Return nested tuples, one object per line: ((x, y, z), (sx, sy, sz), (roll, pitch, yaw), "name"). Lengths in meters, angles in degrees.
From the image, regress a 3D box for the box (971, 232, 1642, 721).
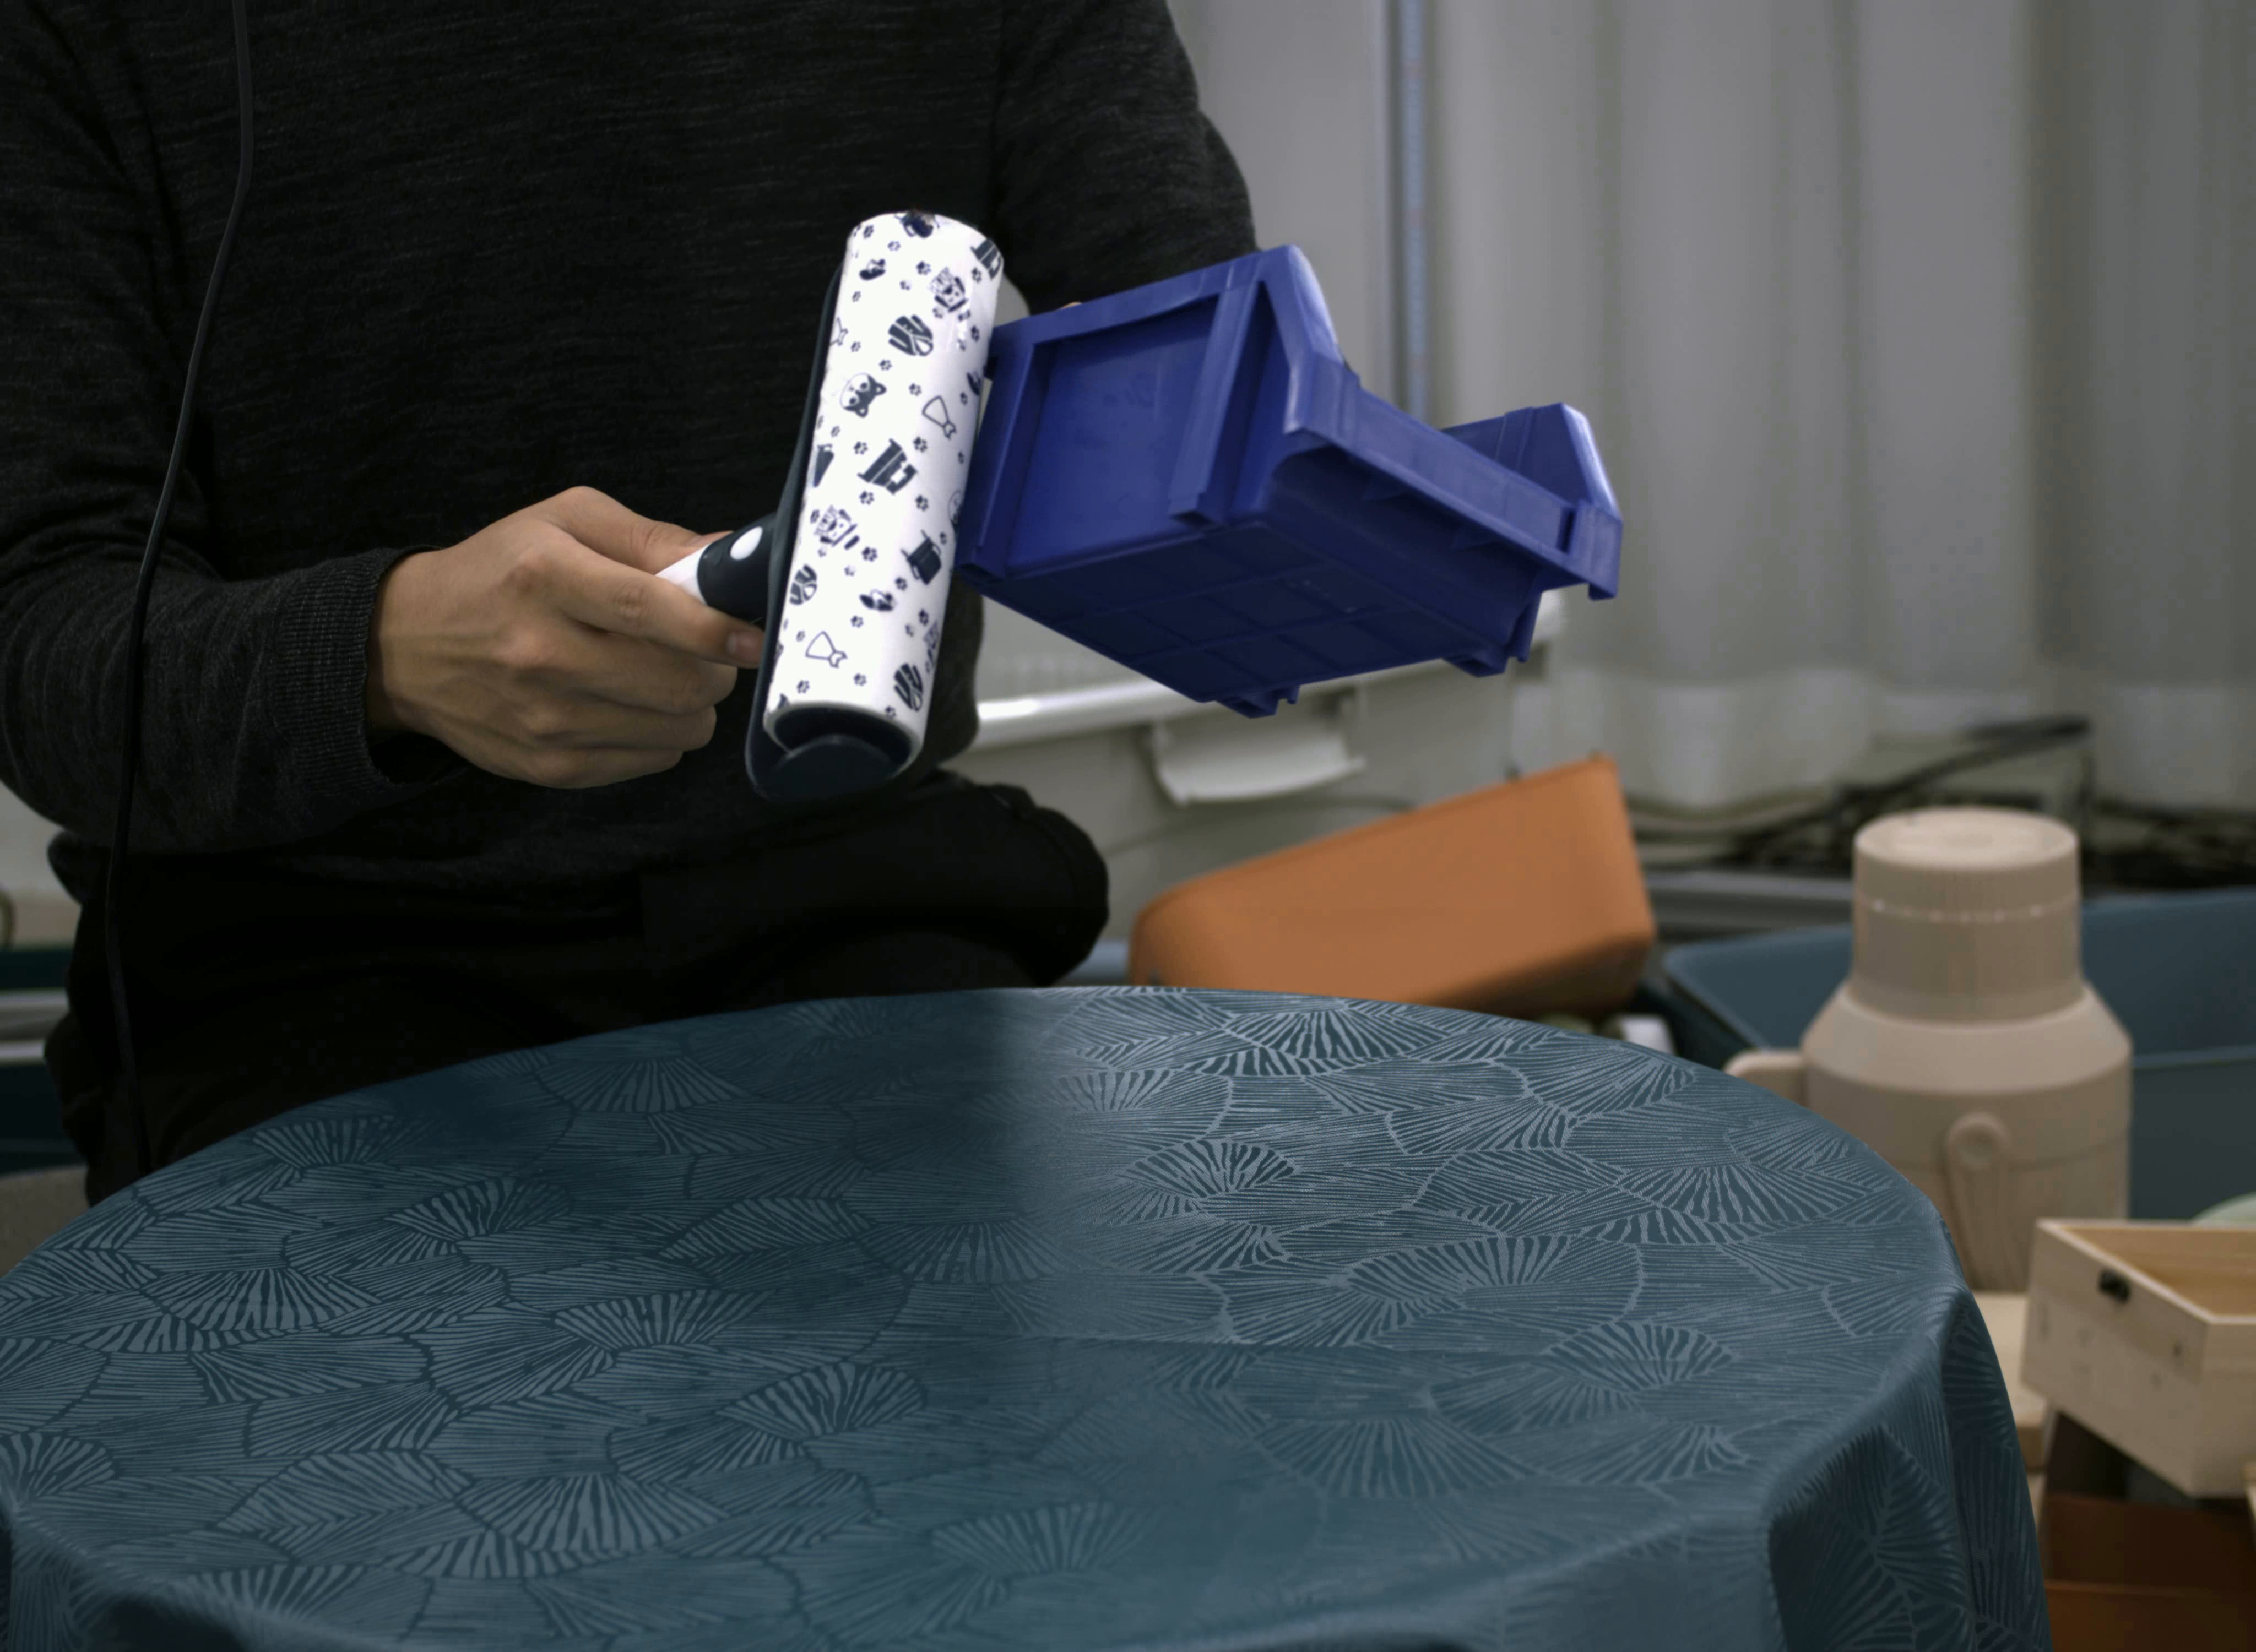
((0.050, -0.099, 1.583), (0.123, 0.083, 0.179), (26, -24, -32), "box")

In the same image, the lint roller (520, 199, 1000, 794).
((-0.127, -0.073, 1.673), (0.050, 0.178, 0.246), (22, -27, -29), "lint roller")
